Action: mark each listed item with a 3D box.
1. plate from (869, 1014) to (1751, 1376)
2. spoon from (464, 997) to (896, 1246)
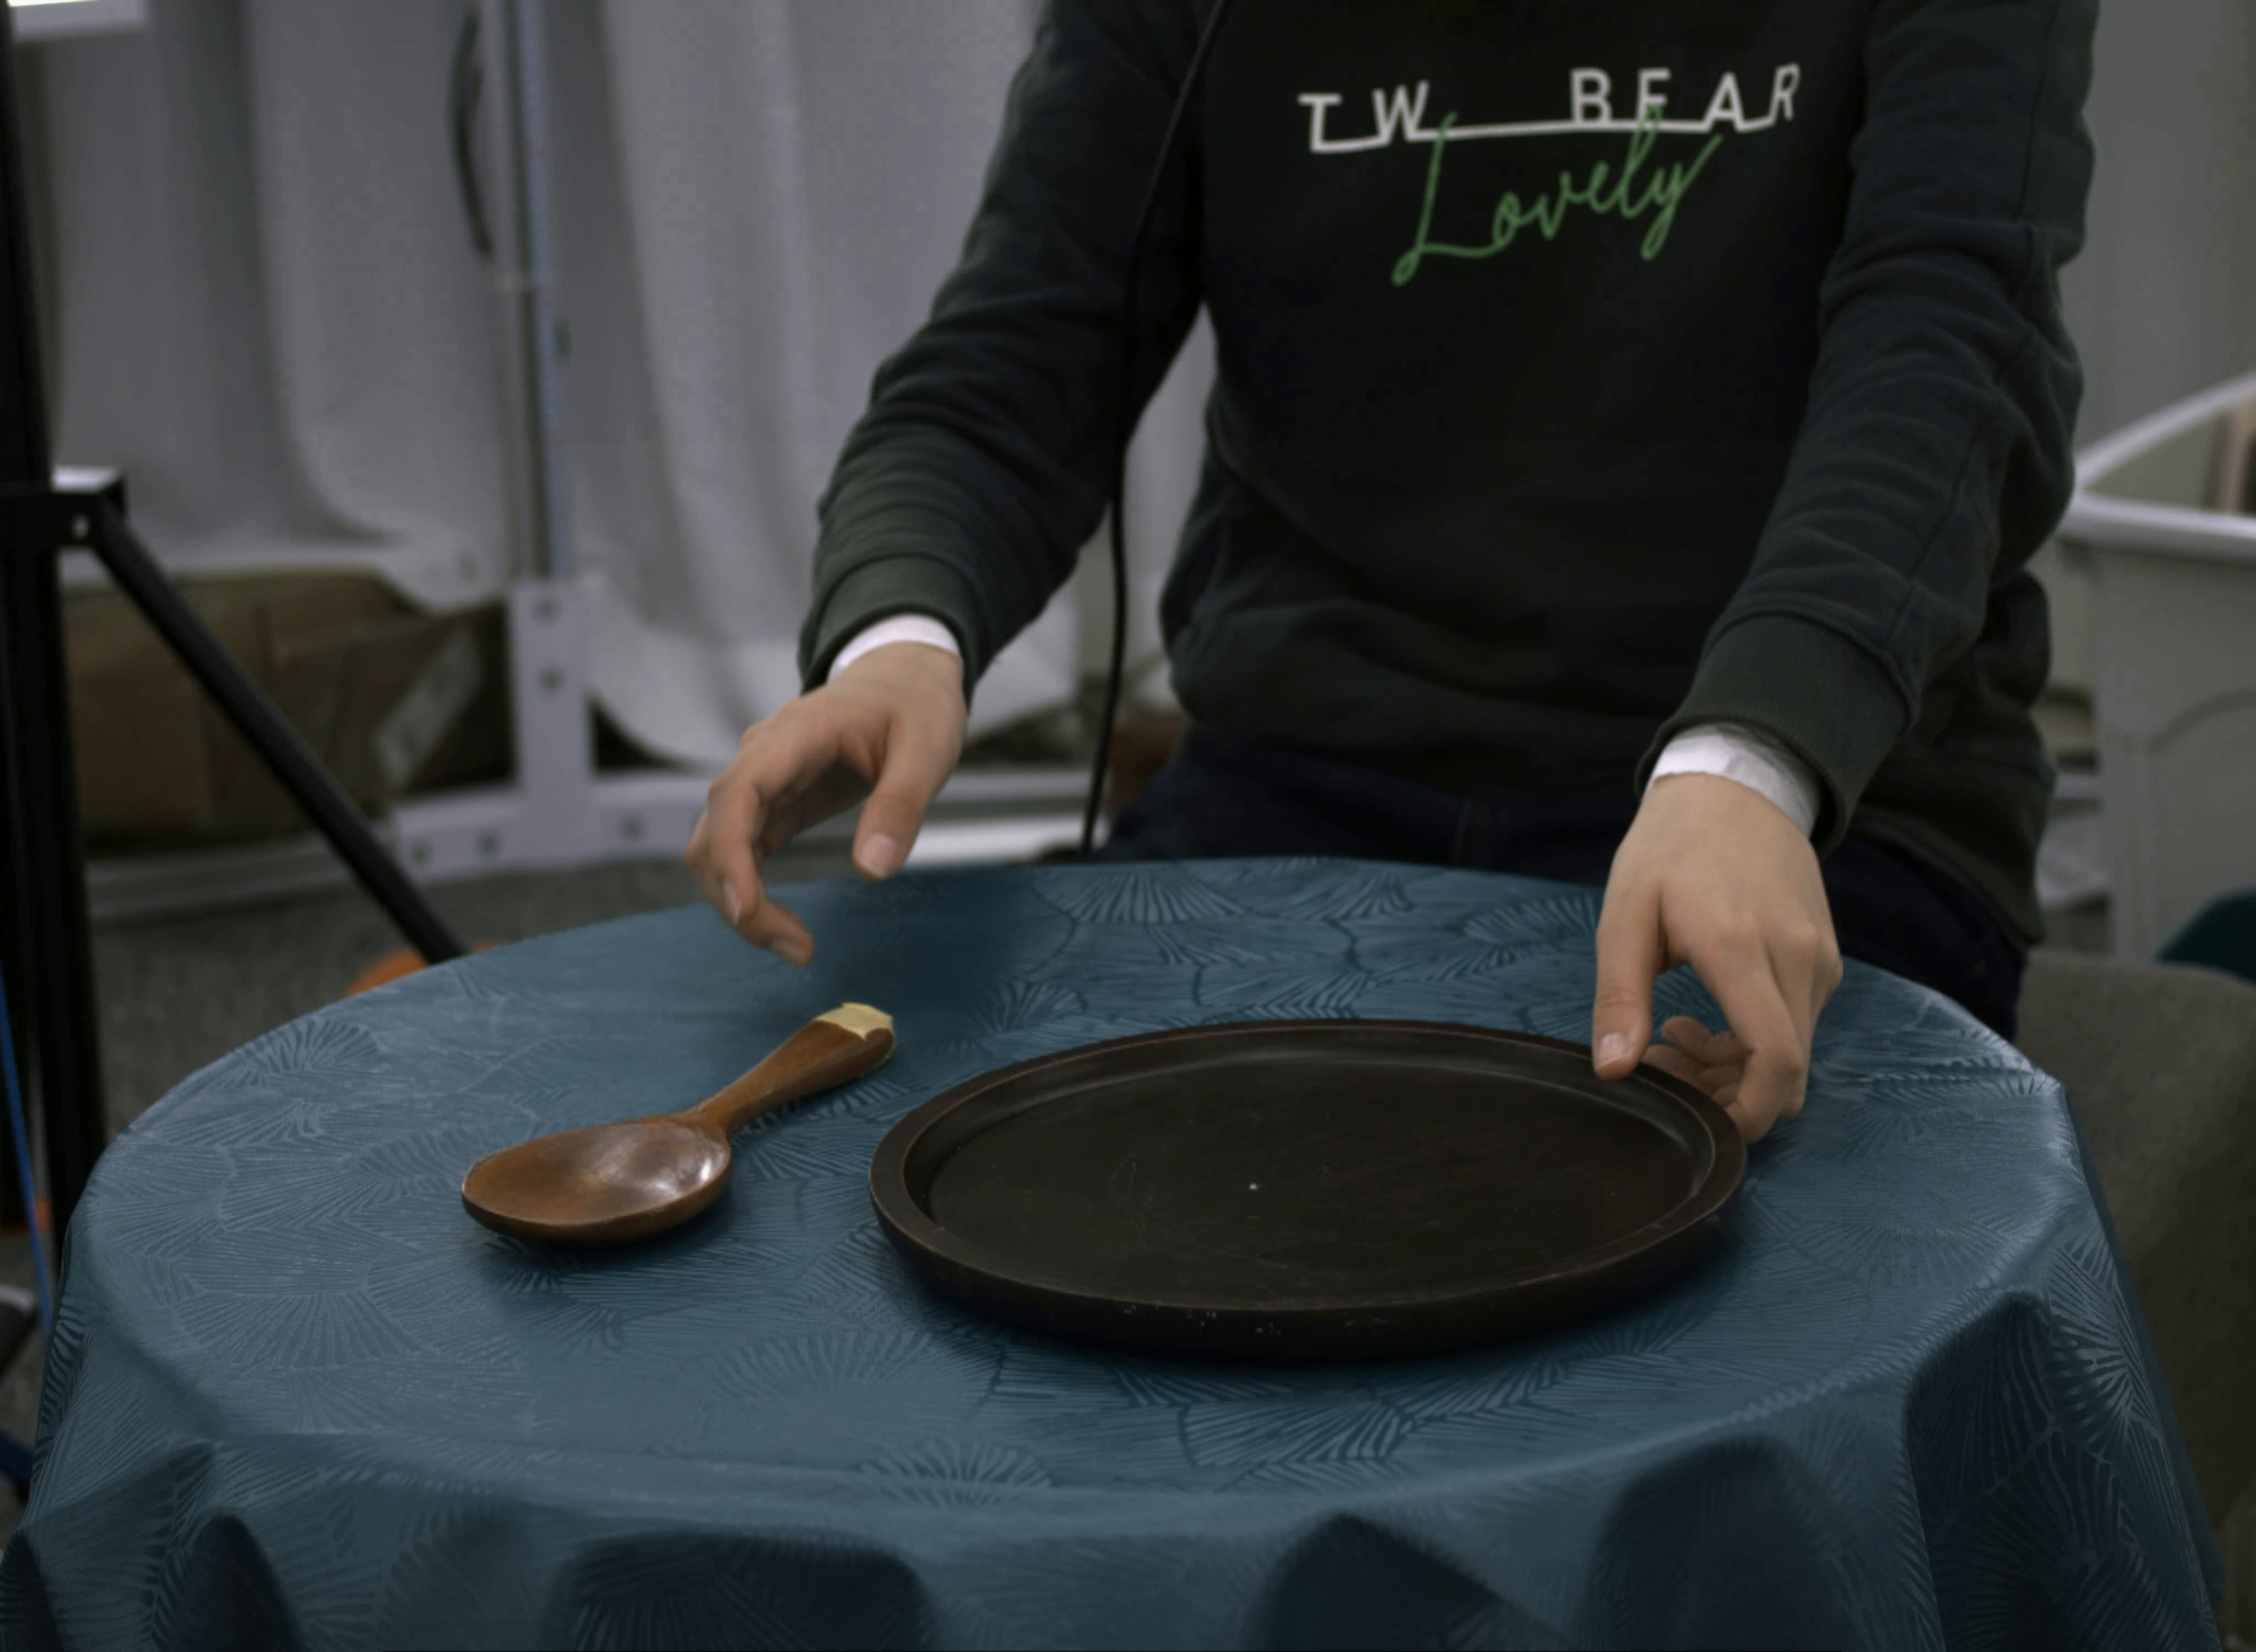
[{"bbox_3d":[0.052,0.104,1.522,0.253,0.029,0.256,-2,17,-1],"label":"plate"},{"bbox_3d":[-0.126,0.090,1.610,0.076,0.017,0.212,5,18,25],"label":"spoon"}]
